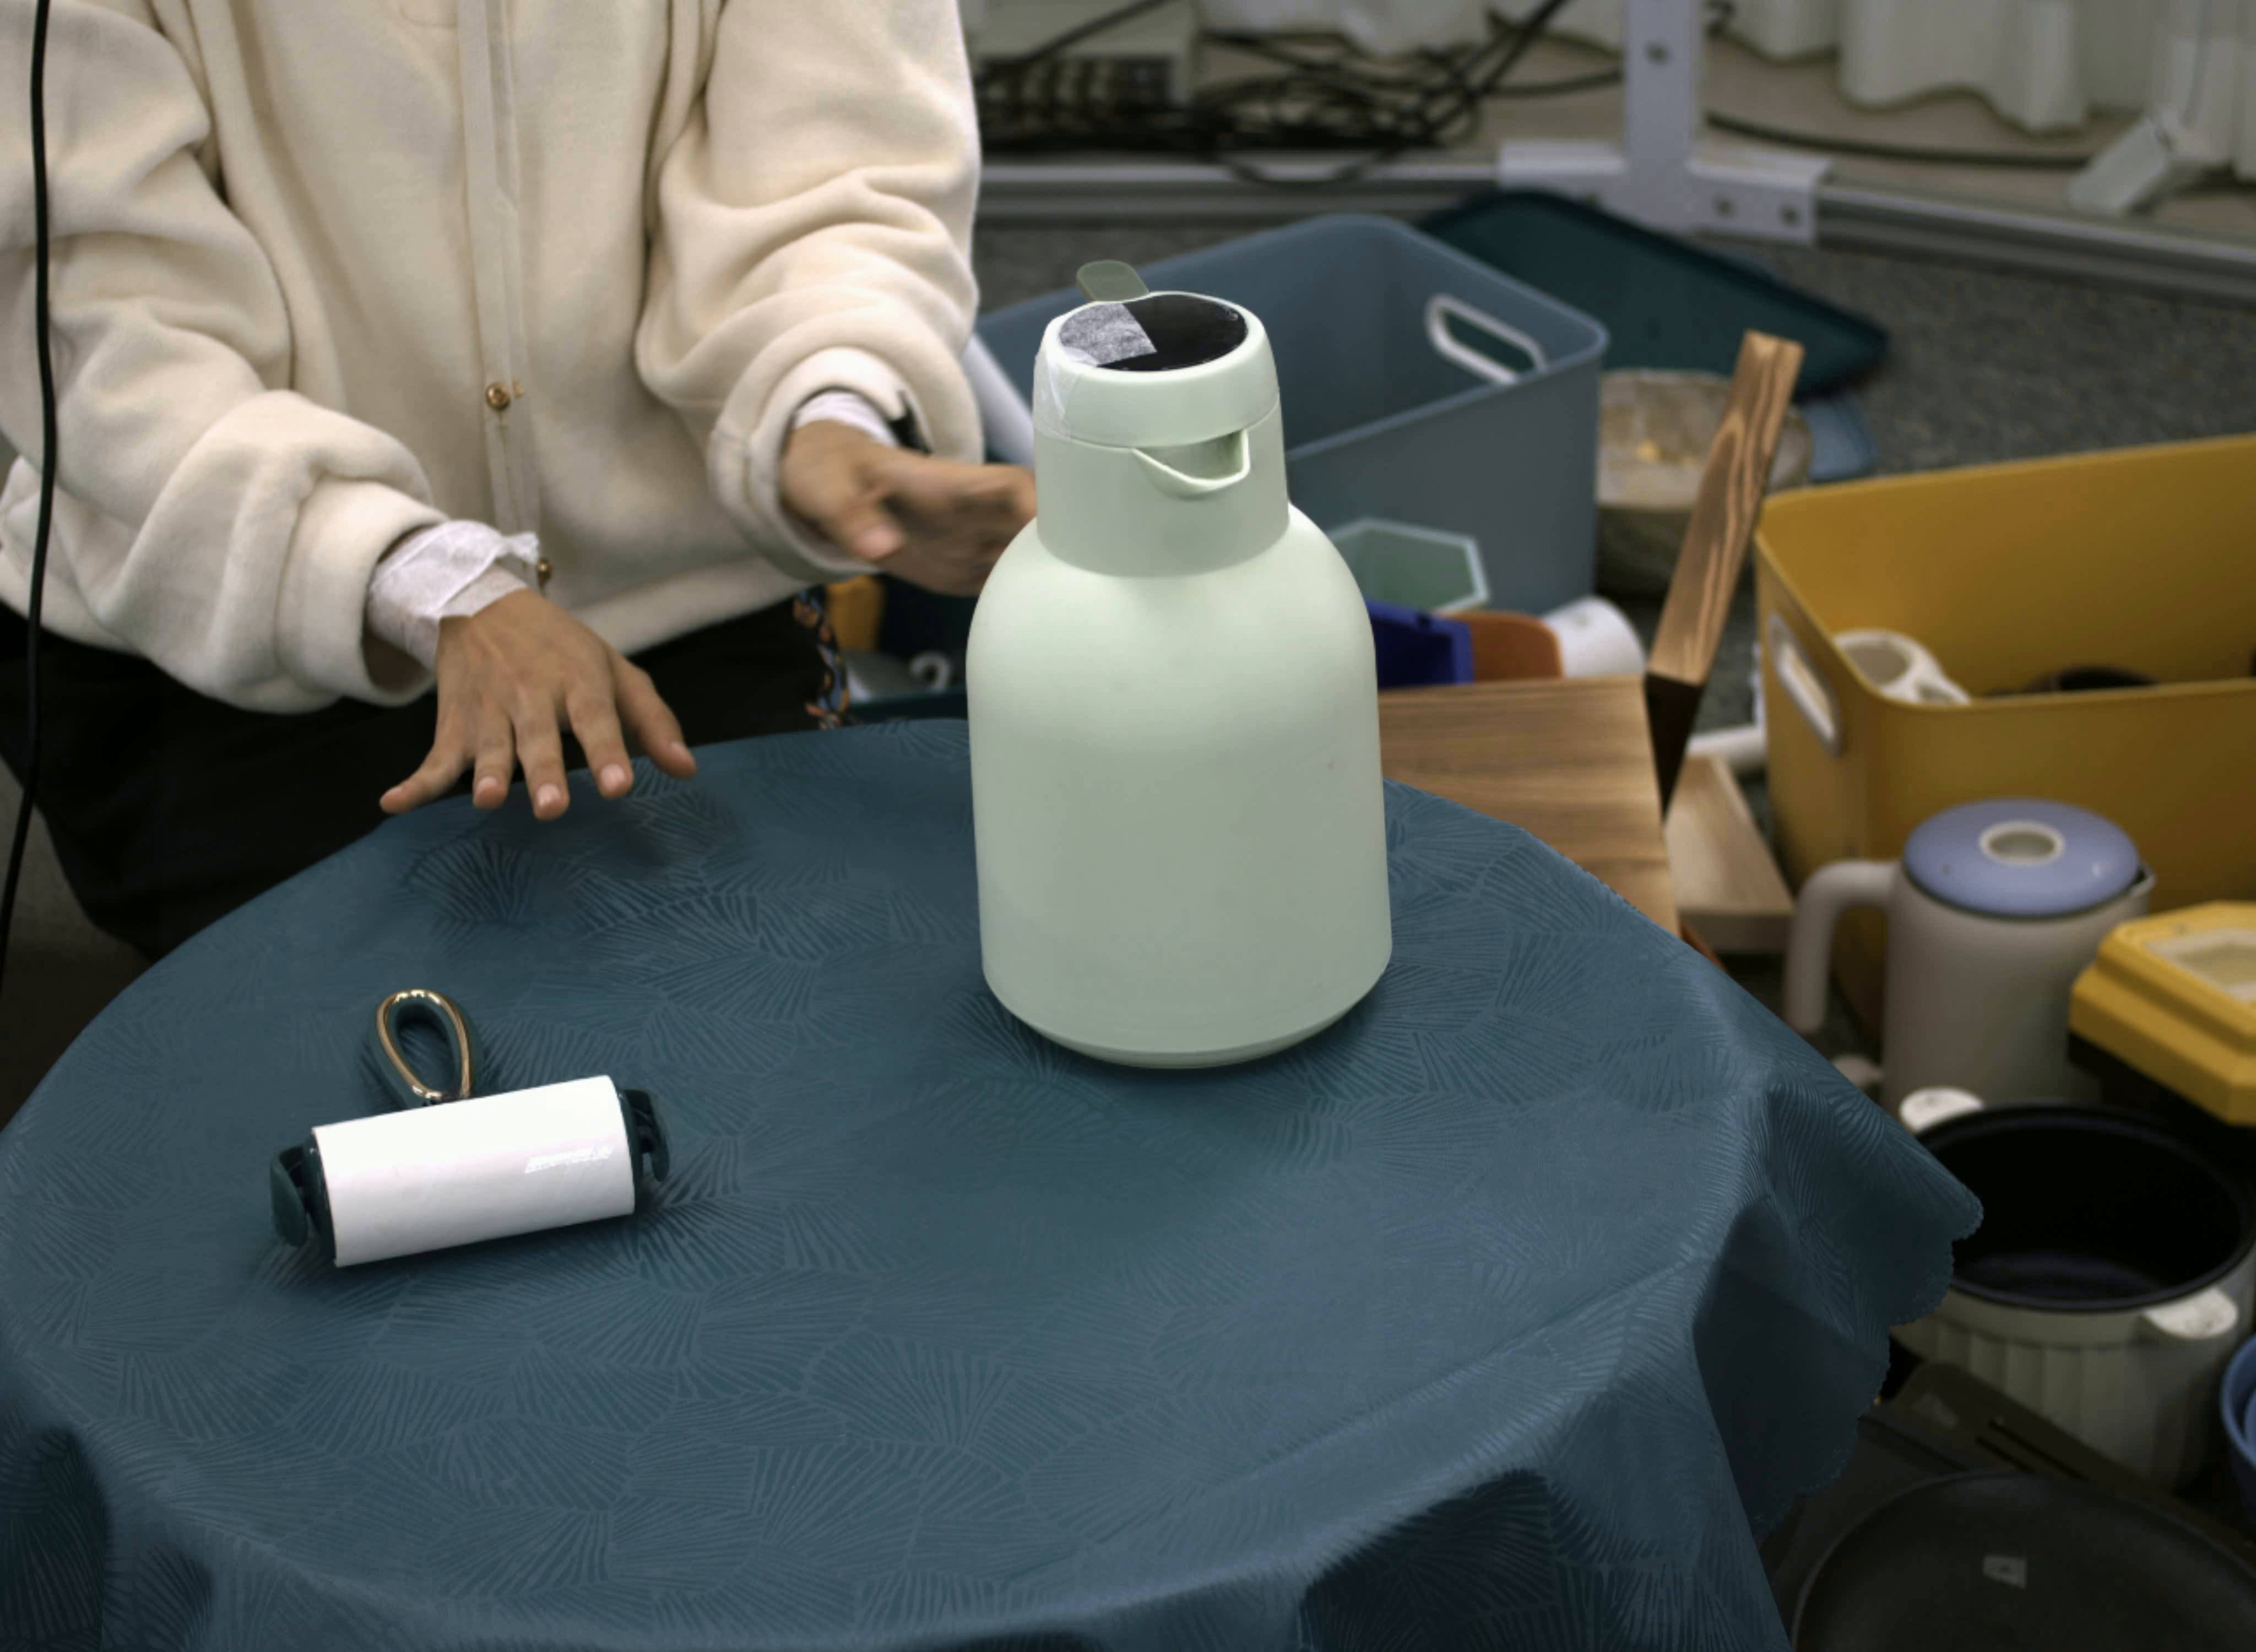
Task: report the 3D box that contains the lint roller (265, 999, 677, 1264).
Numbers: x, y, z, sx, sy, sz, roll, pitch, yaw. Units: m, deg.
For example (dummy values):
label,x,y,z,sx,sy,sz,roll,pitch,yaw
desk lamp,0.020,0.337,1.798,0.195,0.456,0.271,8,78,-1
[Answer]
label,x,y,z,sx,sy,sz,roll,pitch,yaw
lint roller,-0.233,0.084,1.905,0.134,0.048,0.182,-9,28,-13

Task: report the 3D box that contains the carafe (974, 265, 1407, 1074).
label,x,y,z,sx,sy,sz,roll,pitch,yaw
carafe,0.013,-0.060,1.943,0.144,0.254,0.188,-12,24,-13
